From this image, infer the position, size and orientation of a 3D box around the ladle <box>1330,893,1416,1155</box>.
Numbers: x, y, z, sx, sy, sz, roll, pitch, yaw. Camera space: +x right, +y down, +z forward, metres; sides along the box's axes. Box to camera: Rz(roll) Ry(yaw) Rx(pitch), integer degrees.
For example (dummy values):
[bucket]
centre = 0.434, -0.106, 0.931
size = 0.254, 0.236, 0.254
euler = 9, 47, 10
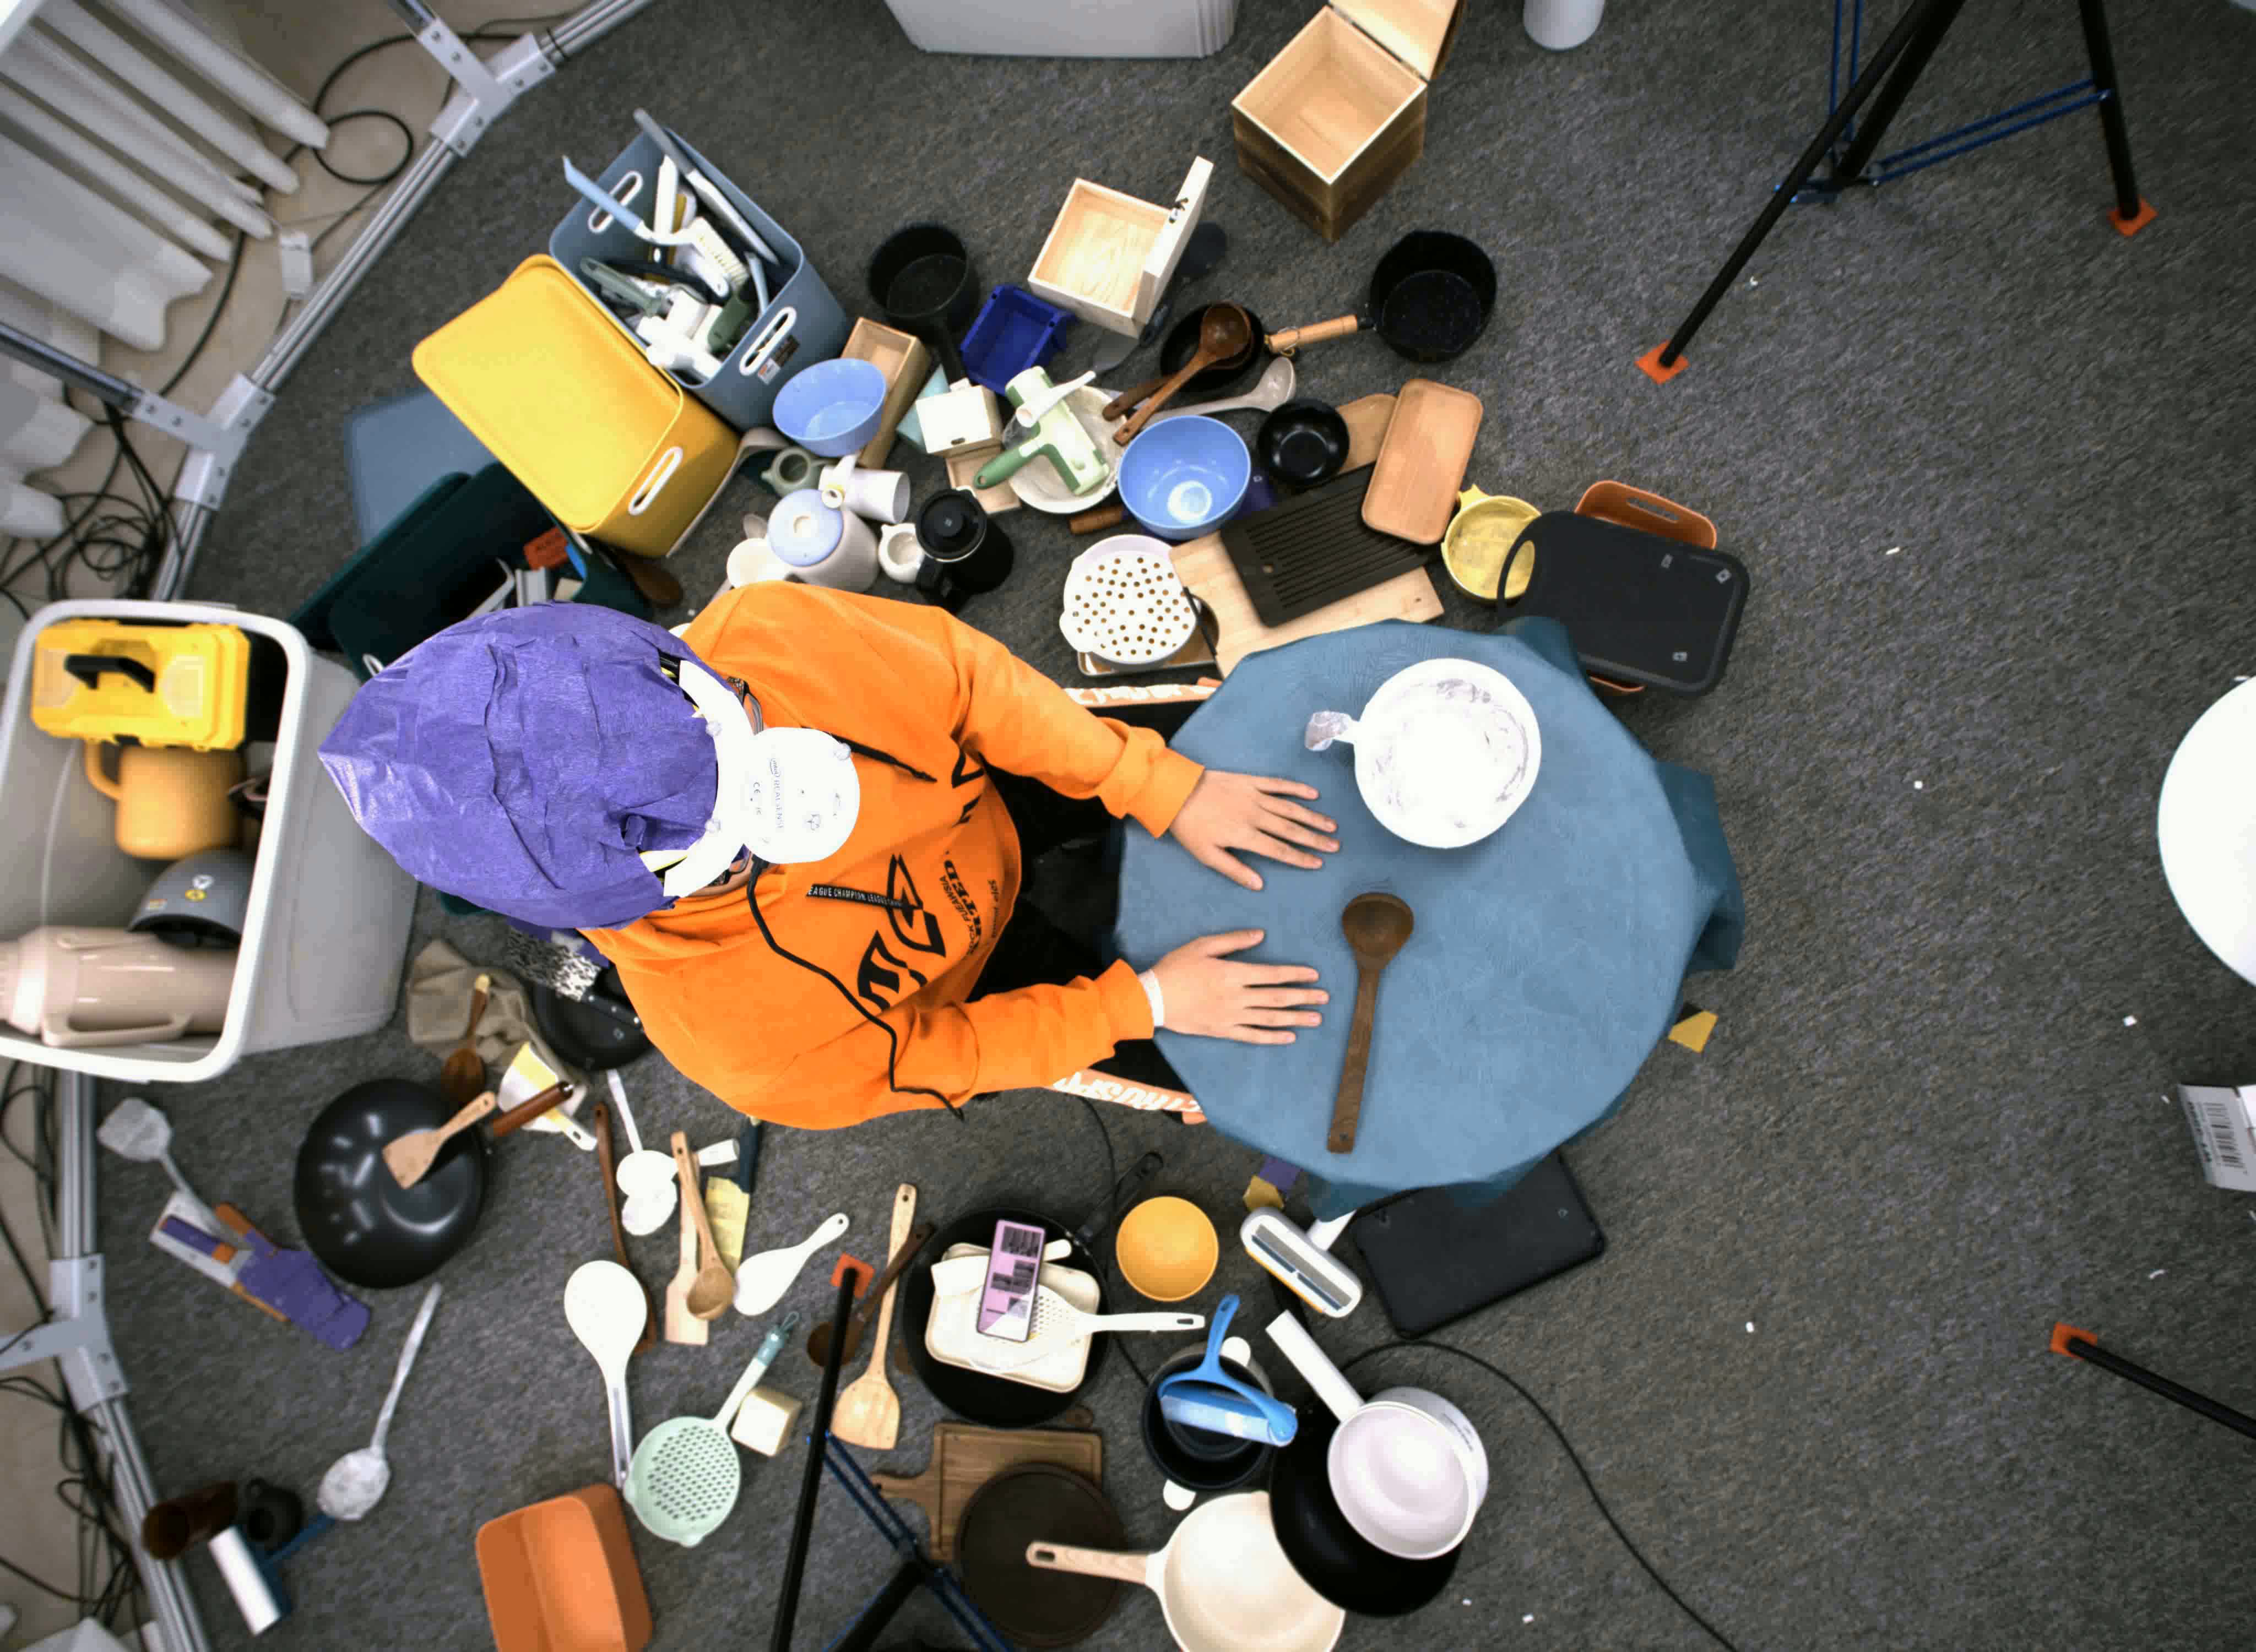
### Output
[ladle]
centre = 0.241, 0.204, 1.423
size = 0.076, 0.071, 0.273
euler = 10, 88, 13

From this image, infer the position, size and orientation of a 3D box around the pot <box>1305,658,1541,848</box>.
[pot]
centre = 0.293, -0.076, 1.394
size = 0.234, 0.137, 0.178
euler = 13, 88, 11
